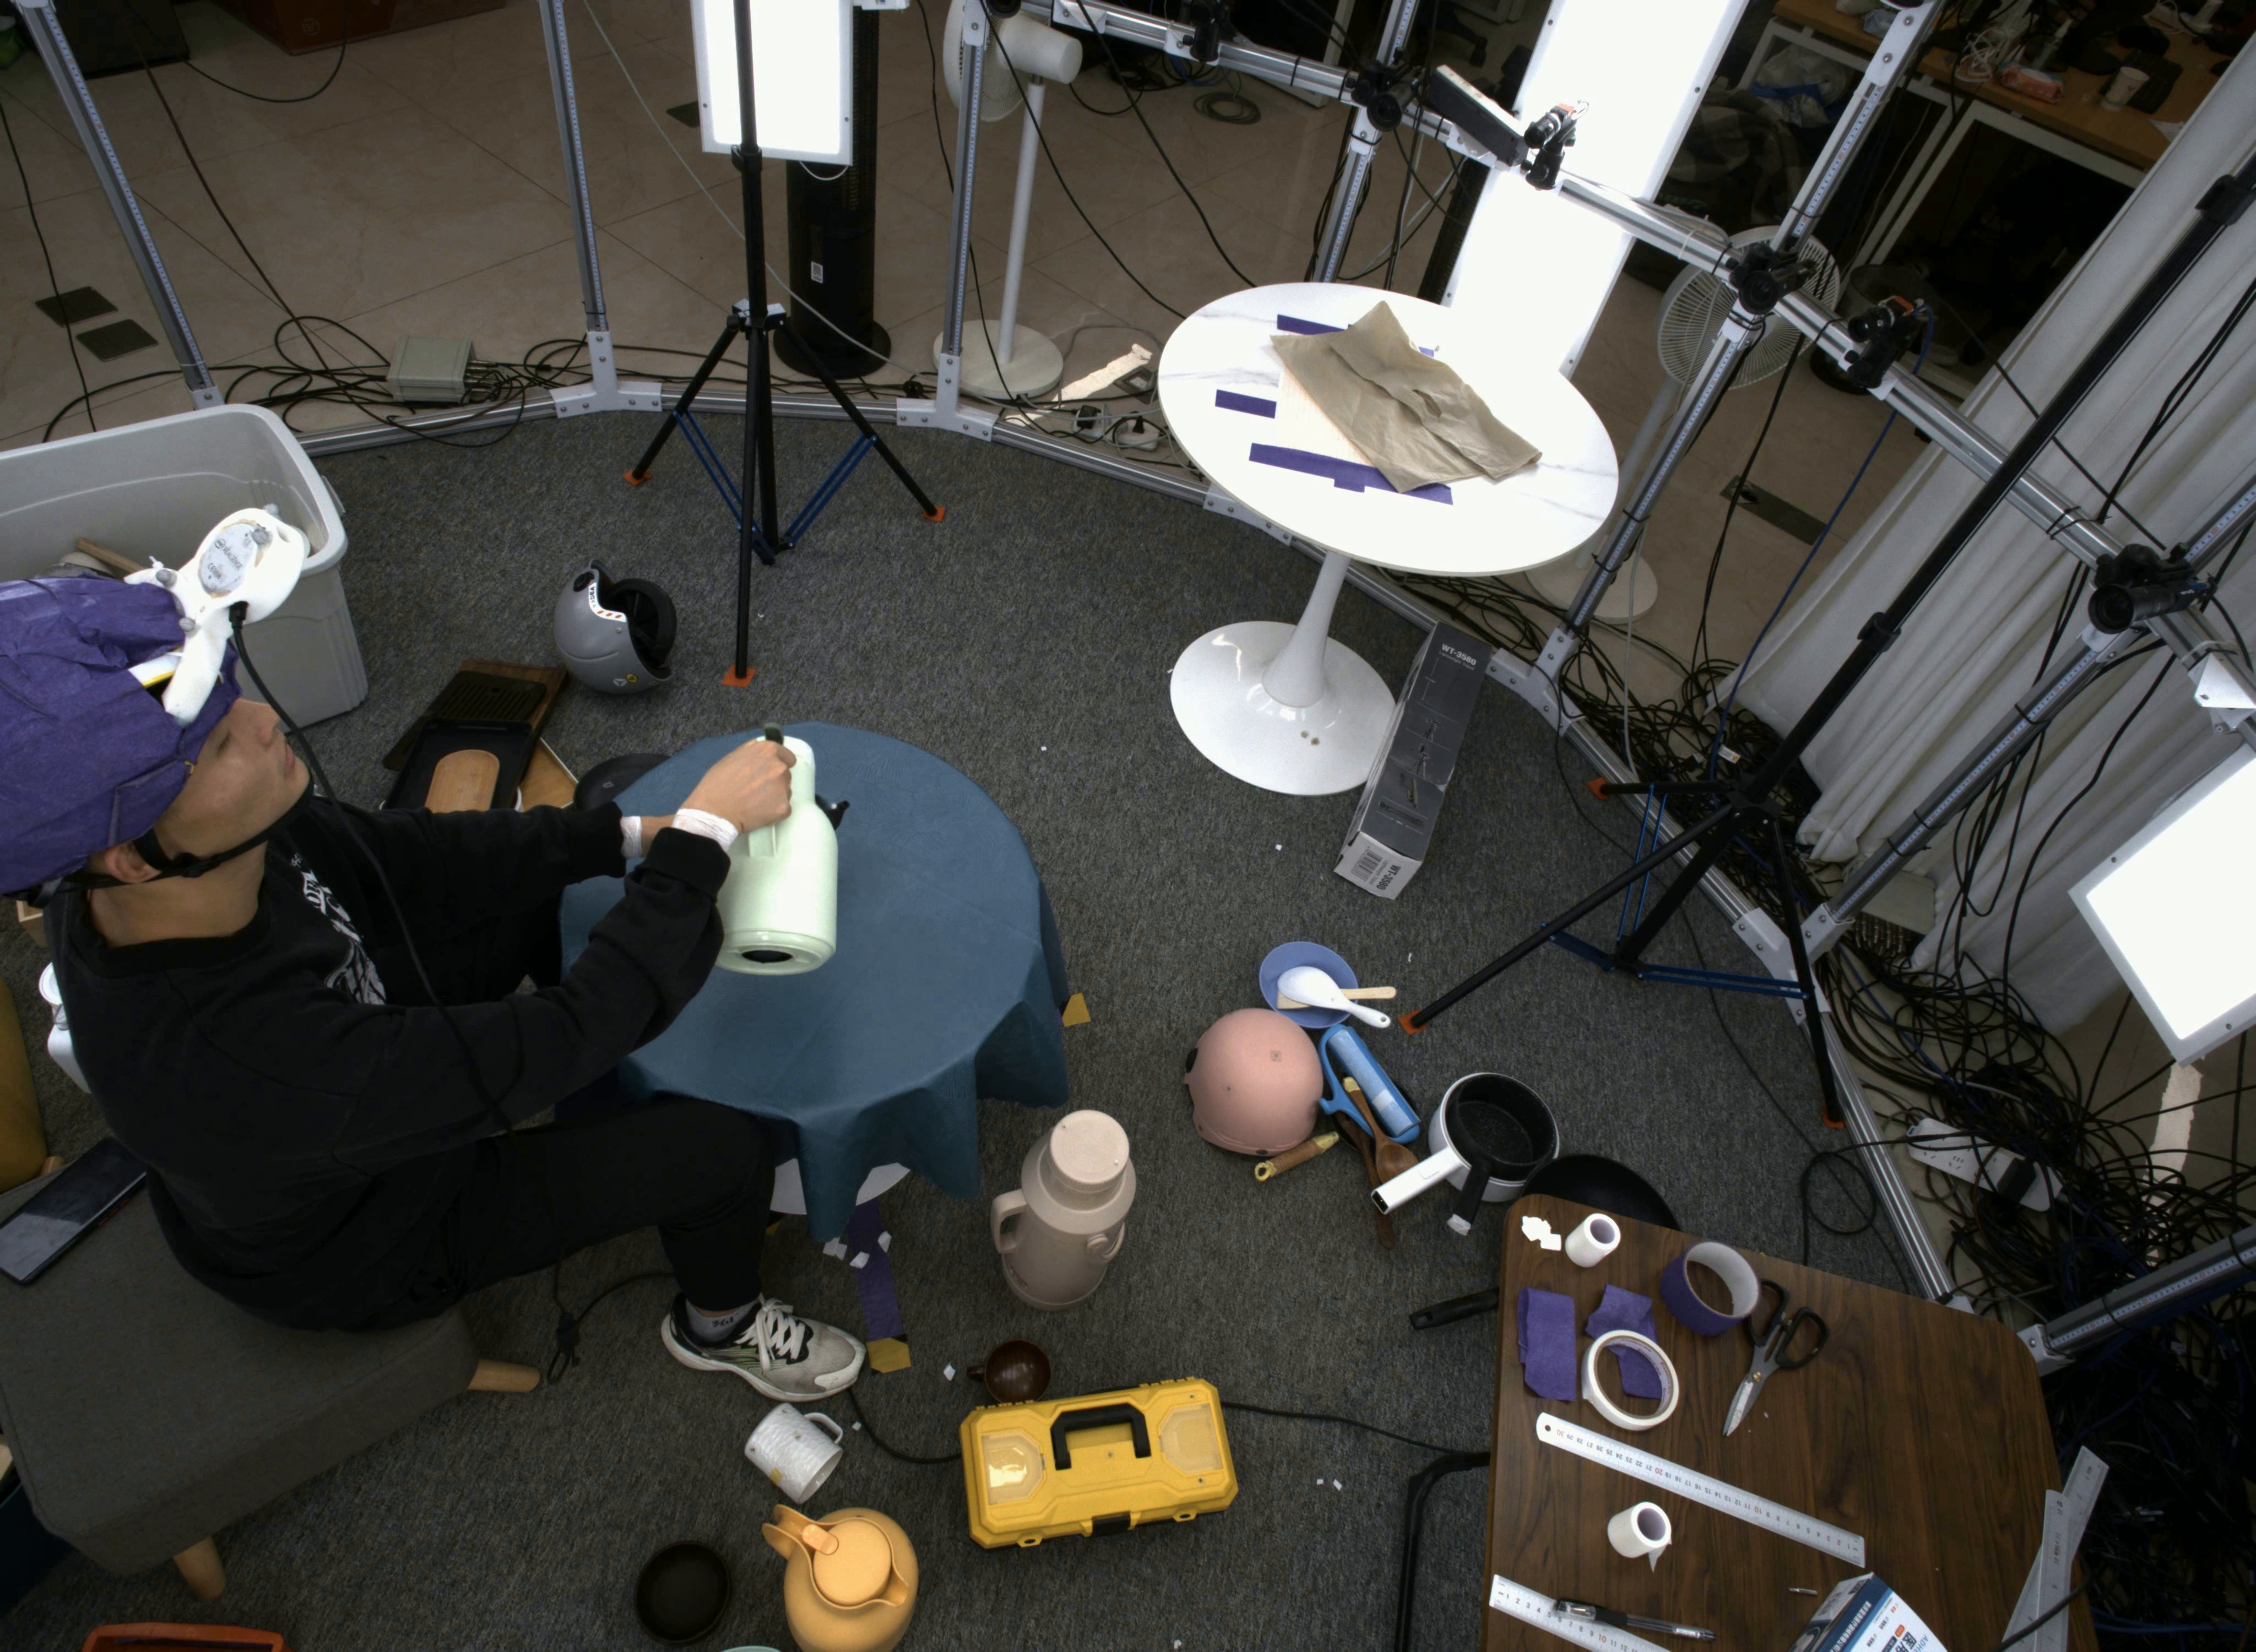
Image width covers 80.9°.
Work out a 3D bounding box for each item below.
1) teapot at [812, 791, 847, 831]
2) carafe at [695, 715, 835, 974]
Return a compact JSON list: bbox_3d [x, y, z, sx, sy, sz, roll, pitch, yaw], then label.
[{"bbox_3d":[-0.411,-0.009,1.601,0.133,0.054,0.089,-8,54,-12],"label":"teapot"},{"bbox_3d":[-0.390,0.016,1.402,0.144,0.188,0.255,0,73,-7],"label":"carafe"}]
